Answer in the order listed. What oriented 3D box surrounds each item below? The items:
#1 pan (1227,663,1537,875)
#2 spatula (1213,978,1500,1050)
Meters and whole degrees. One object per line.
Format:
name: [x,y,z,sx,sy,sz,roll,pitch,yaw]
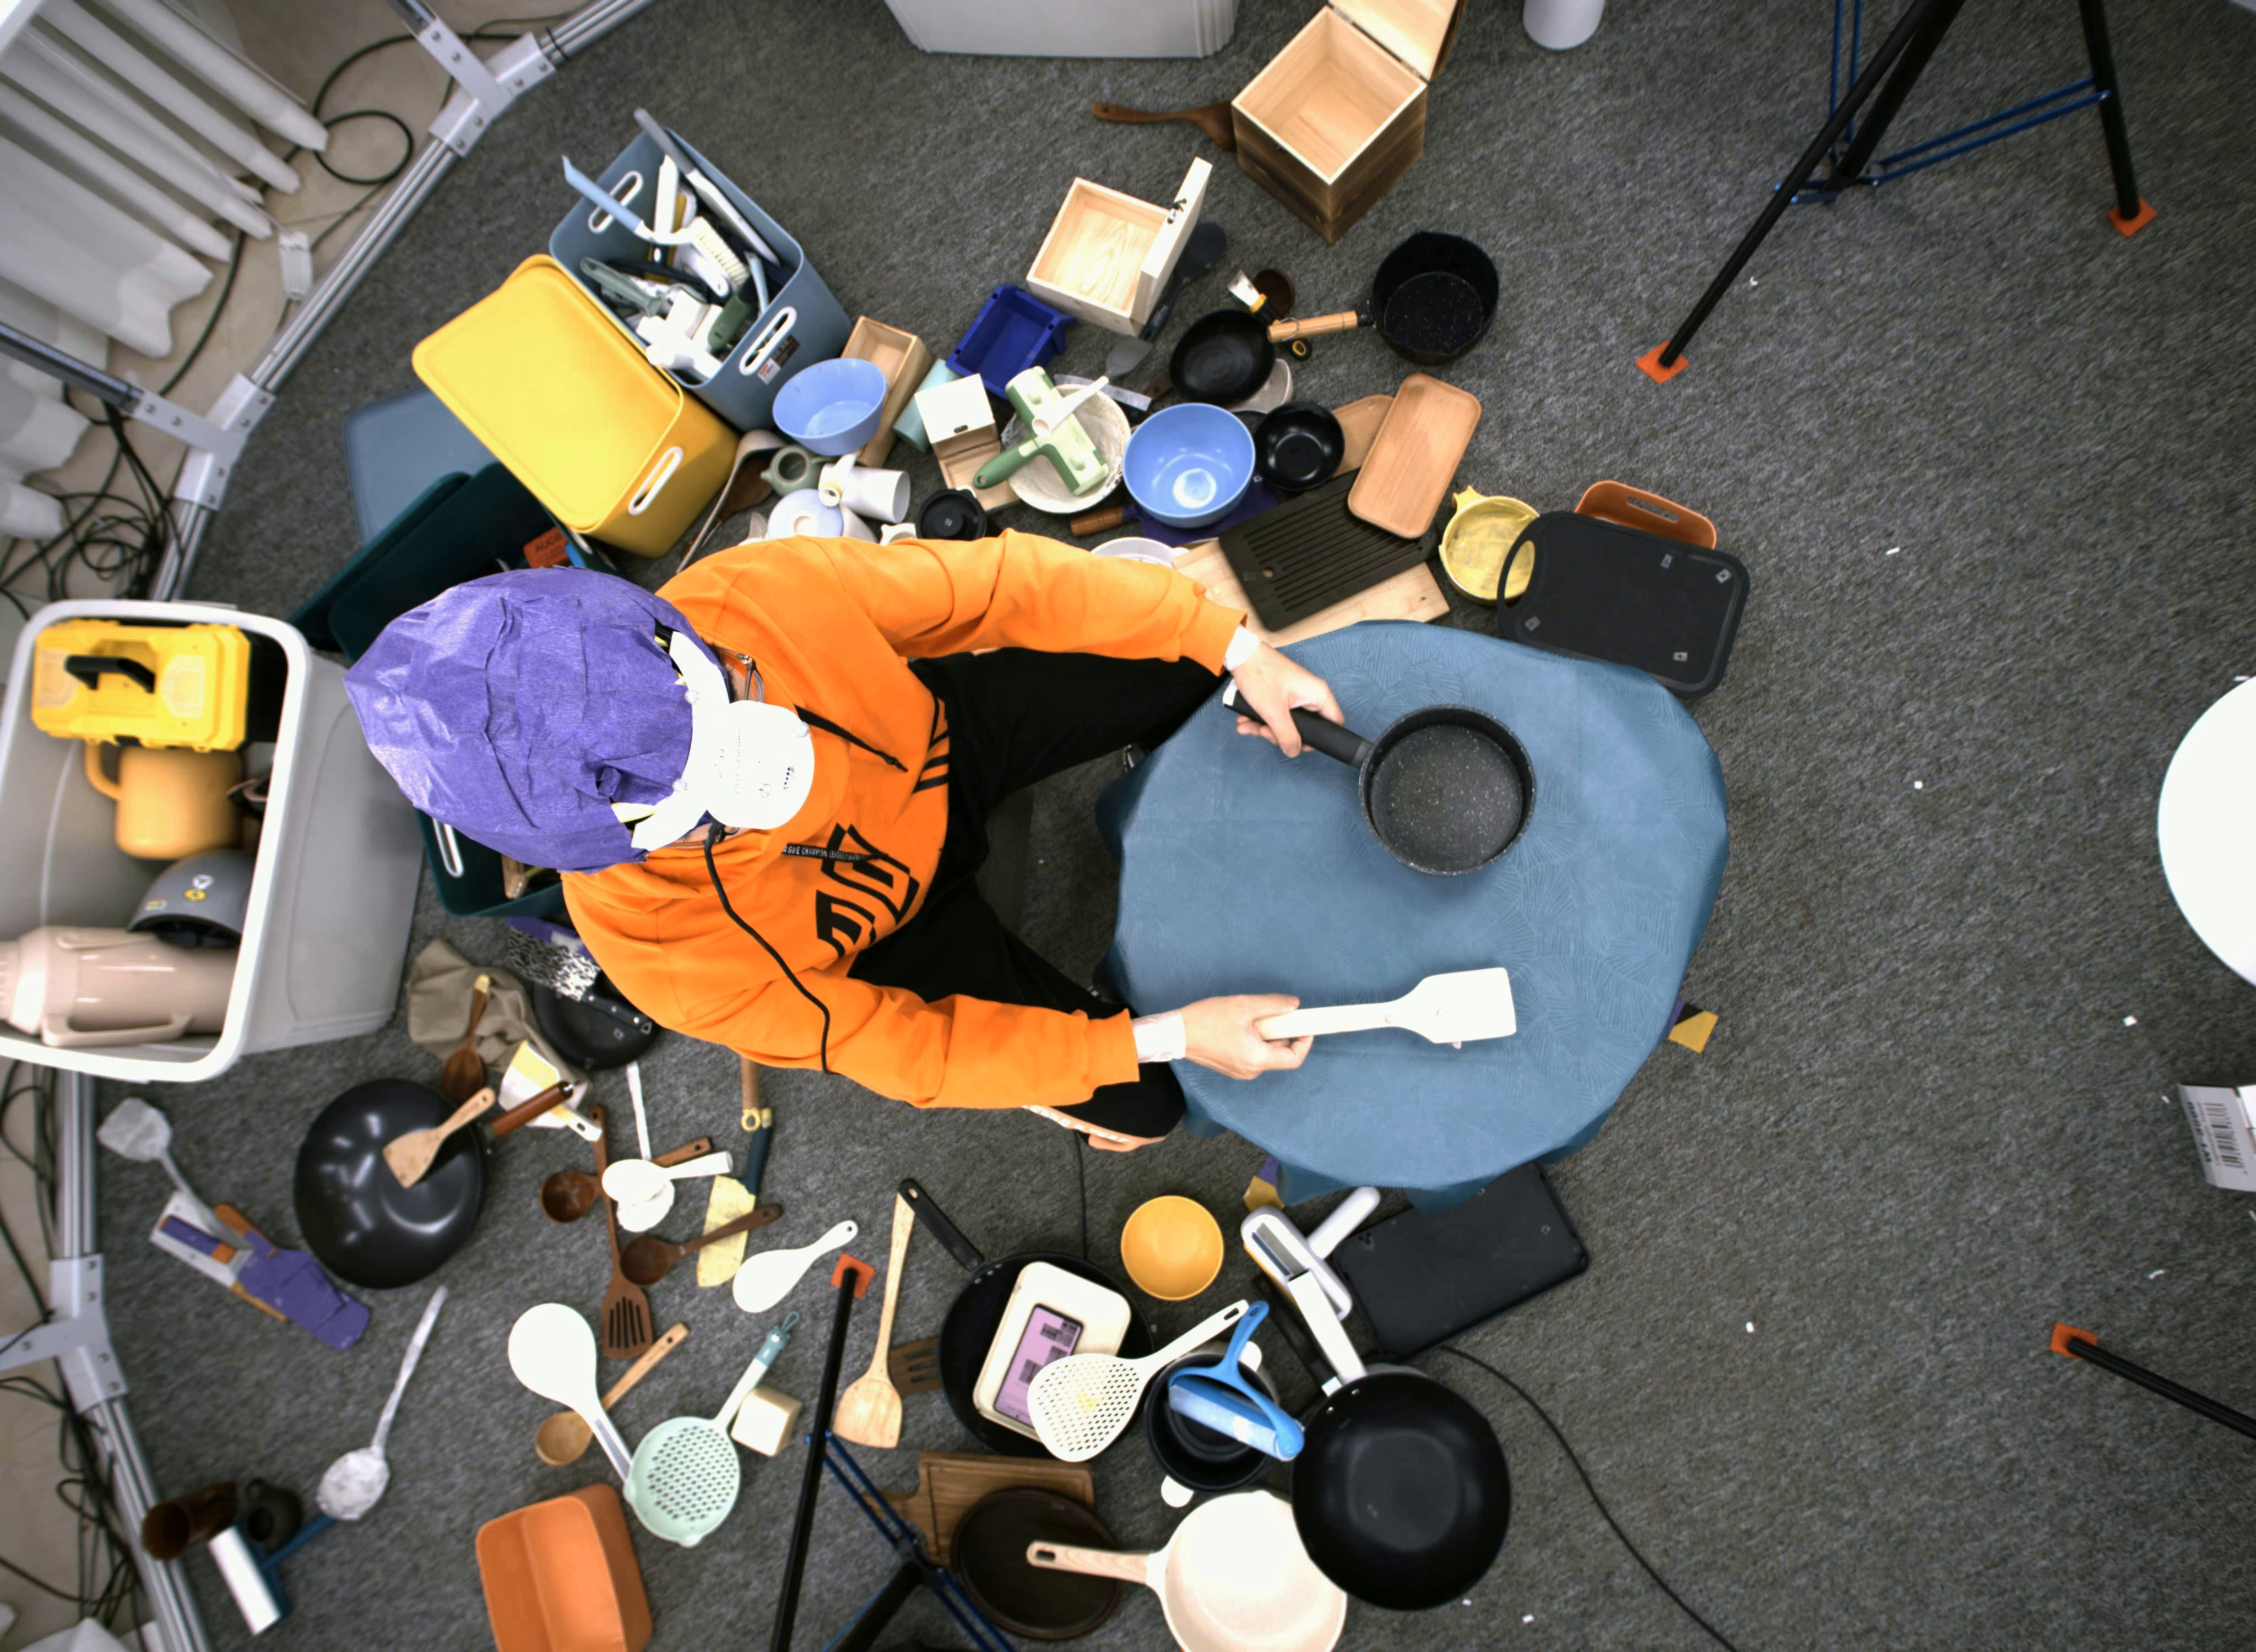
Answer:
pan: [0.251,-0.071,1.399,0.328,0.086,0.172,28,91,11]
spatula: [0.233,0.197,1.411,0.293,0.011,0.072,-3,84,1]
